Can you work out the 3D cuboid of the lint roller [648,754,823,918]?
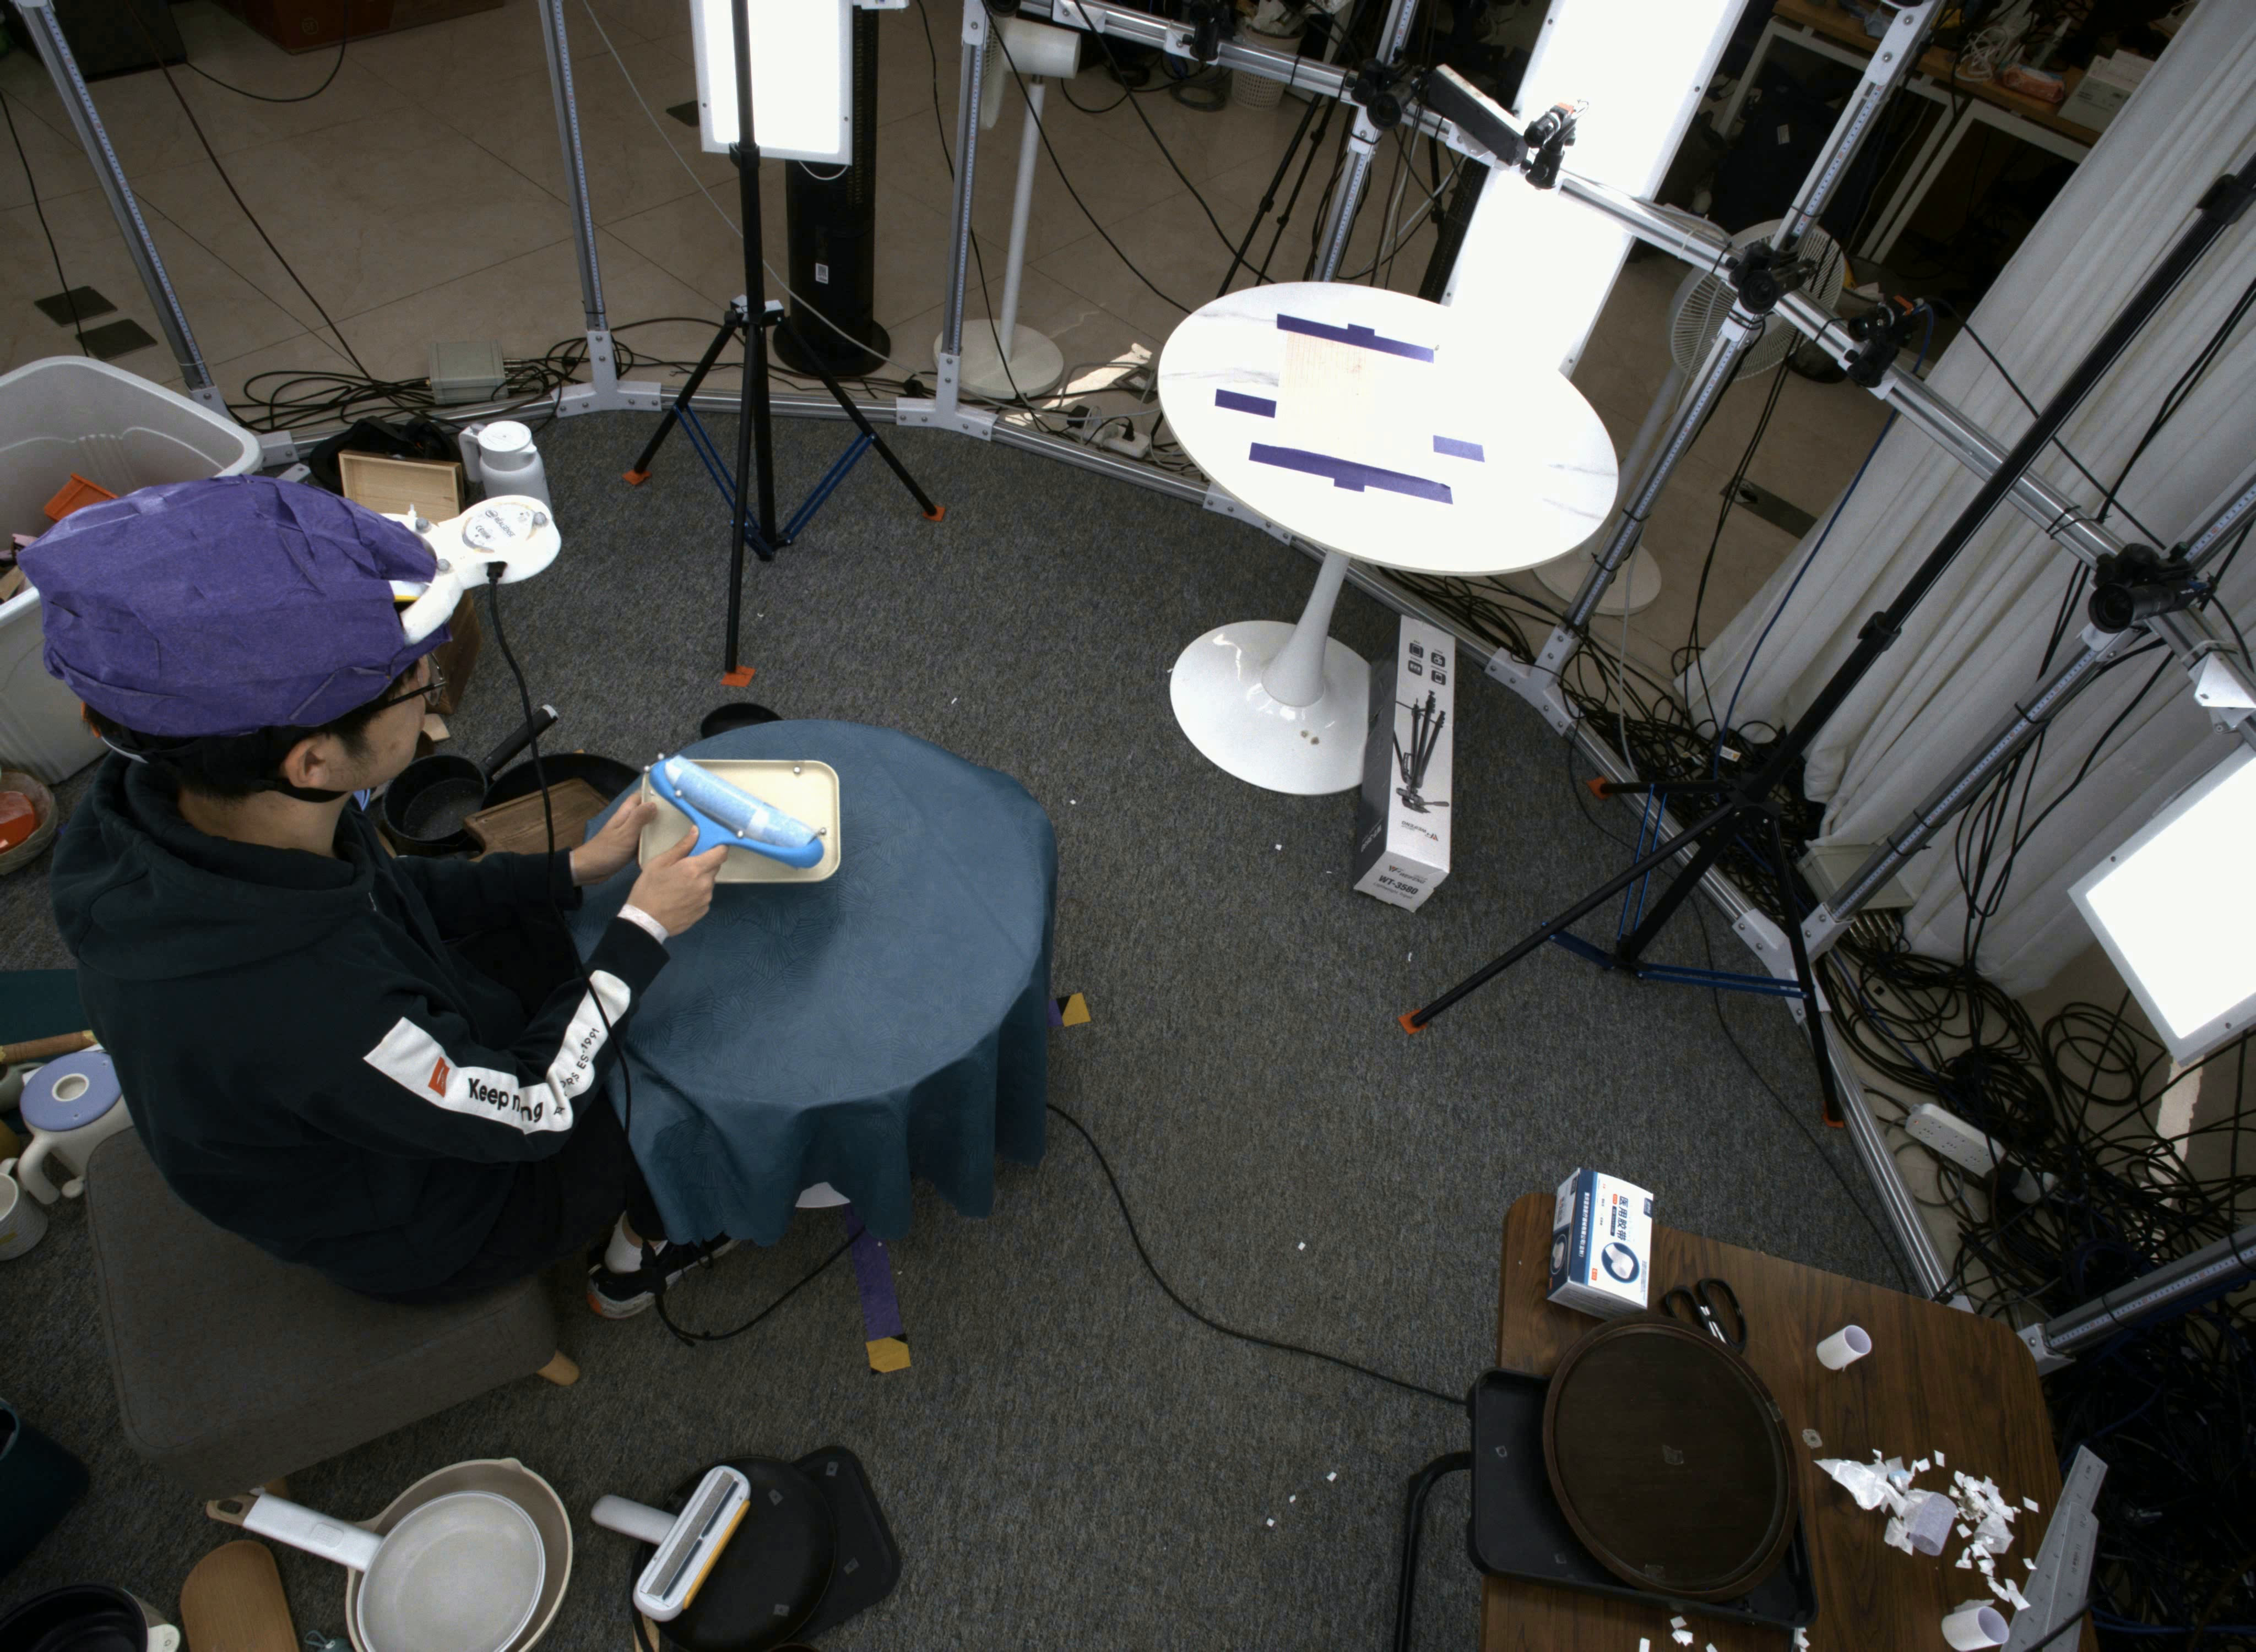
[{"bbox_3d":[-0.490,0.023,1.516,0.229,0.068,0.178,28,52,-7],"label":"lint roller"}]

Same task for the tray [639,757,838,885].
[{"bbox_3d":[-0.481,-0.007,1.598,0.240,0.017,0.169,0,66,-17],"label":"tray"}]
